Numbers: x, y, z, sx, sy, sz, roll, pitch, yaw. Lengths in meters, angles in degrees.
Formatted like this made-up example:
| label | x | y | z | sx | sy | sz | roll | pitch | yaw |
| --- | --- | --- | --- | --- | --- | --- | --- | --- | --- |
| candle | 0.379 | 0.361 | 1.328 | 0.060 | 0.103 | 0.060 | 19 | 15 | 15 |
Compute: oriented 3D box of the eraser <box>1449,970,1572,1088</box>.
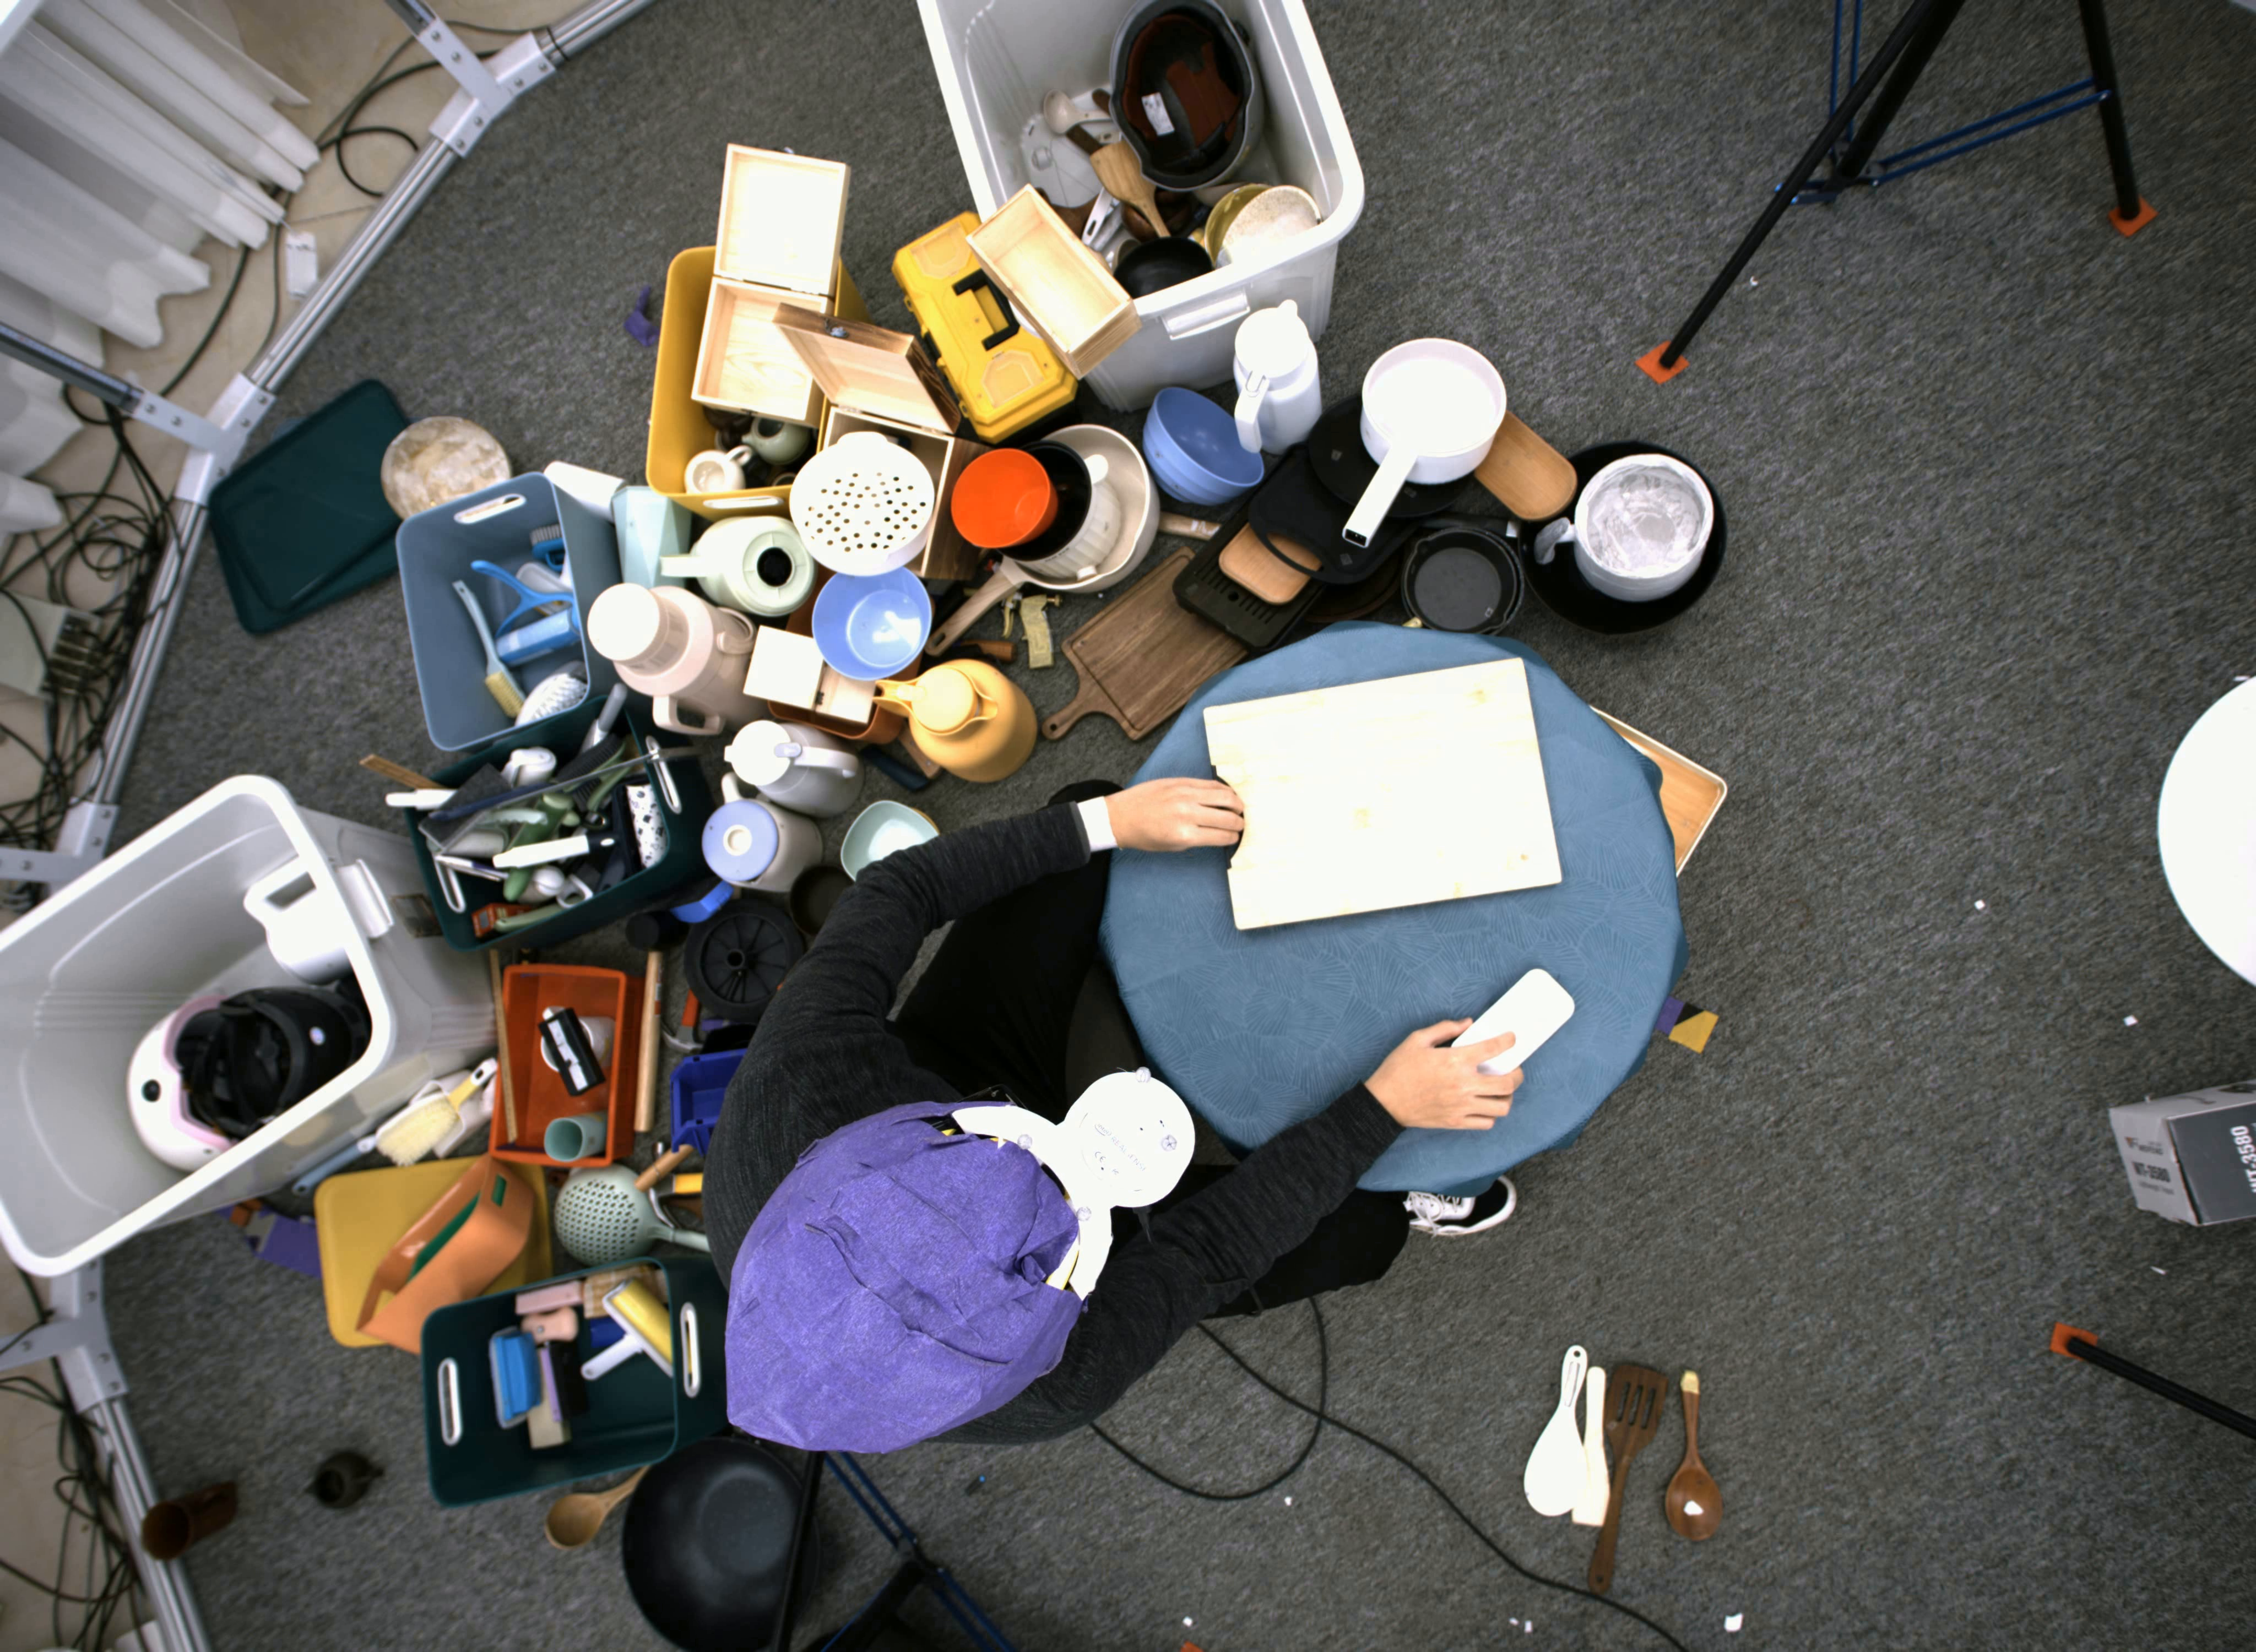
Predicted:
| label | x | y | z | sx | sy | sz | roll | pitch | yaw |
| --- | --- | --- | --- | --- | --- | --- | --- | --- | --- |
| eraser | 0.391 | 0.205 | 1.414 | 0.132 | 0.034 | 0.063 | -42 | 82 | 4 |

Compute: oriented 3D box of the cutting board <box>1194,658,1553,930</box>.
| label | x | y | z | sx | sy | sz | roll | pitch | yaw |
| --- | --- | --- | --- | --- | --- | --- | --- | --- | --- |
| cutting board | 0.258 | -0.034 | 1.450 | 0.350 | 0.023 | 0.249 | -10 | 85 | 7 |
